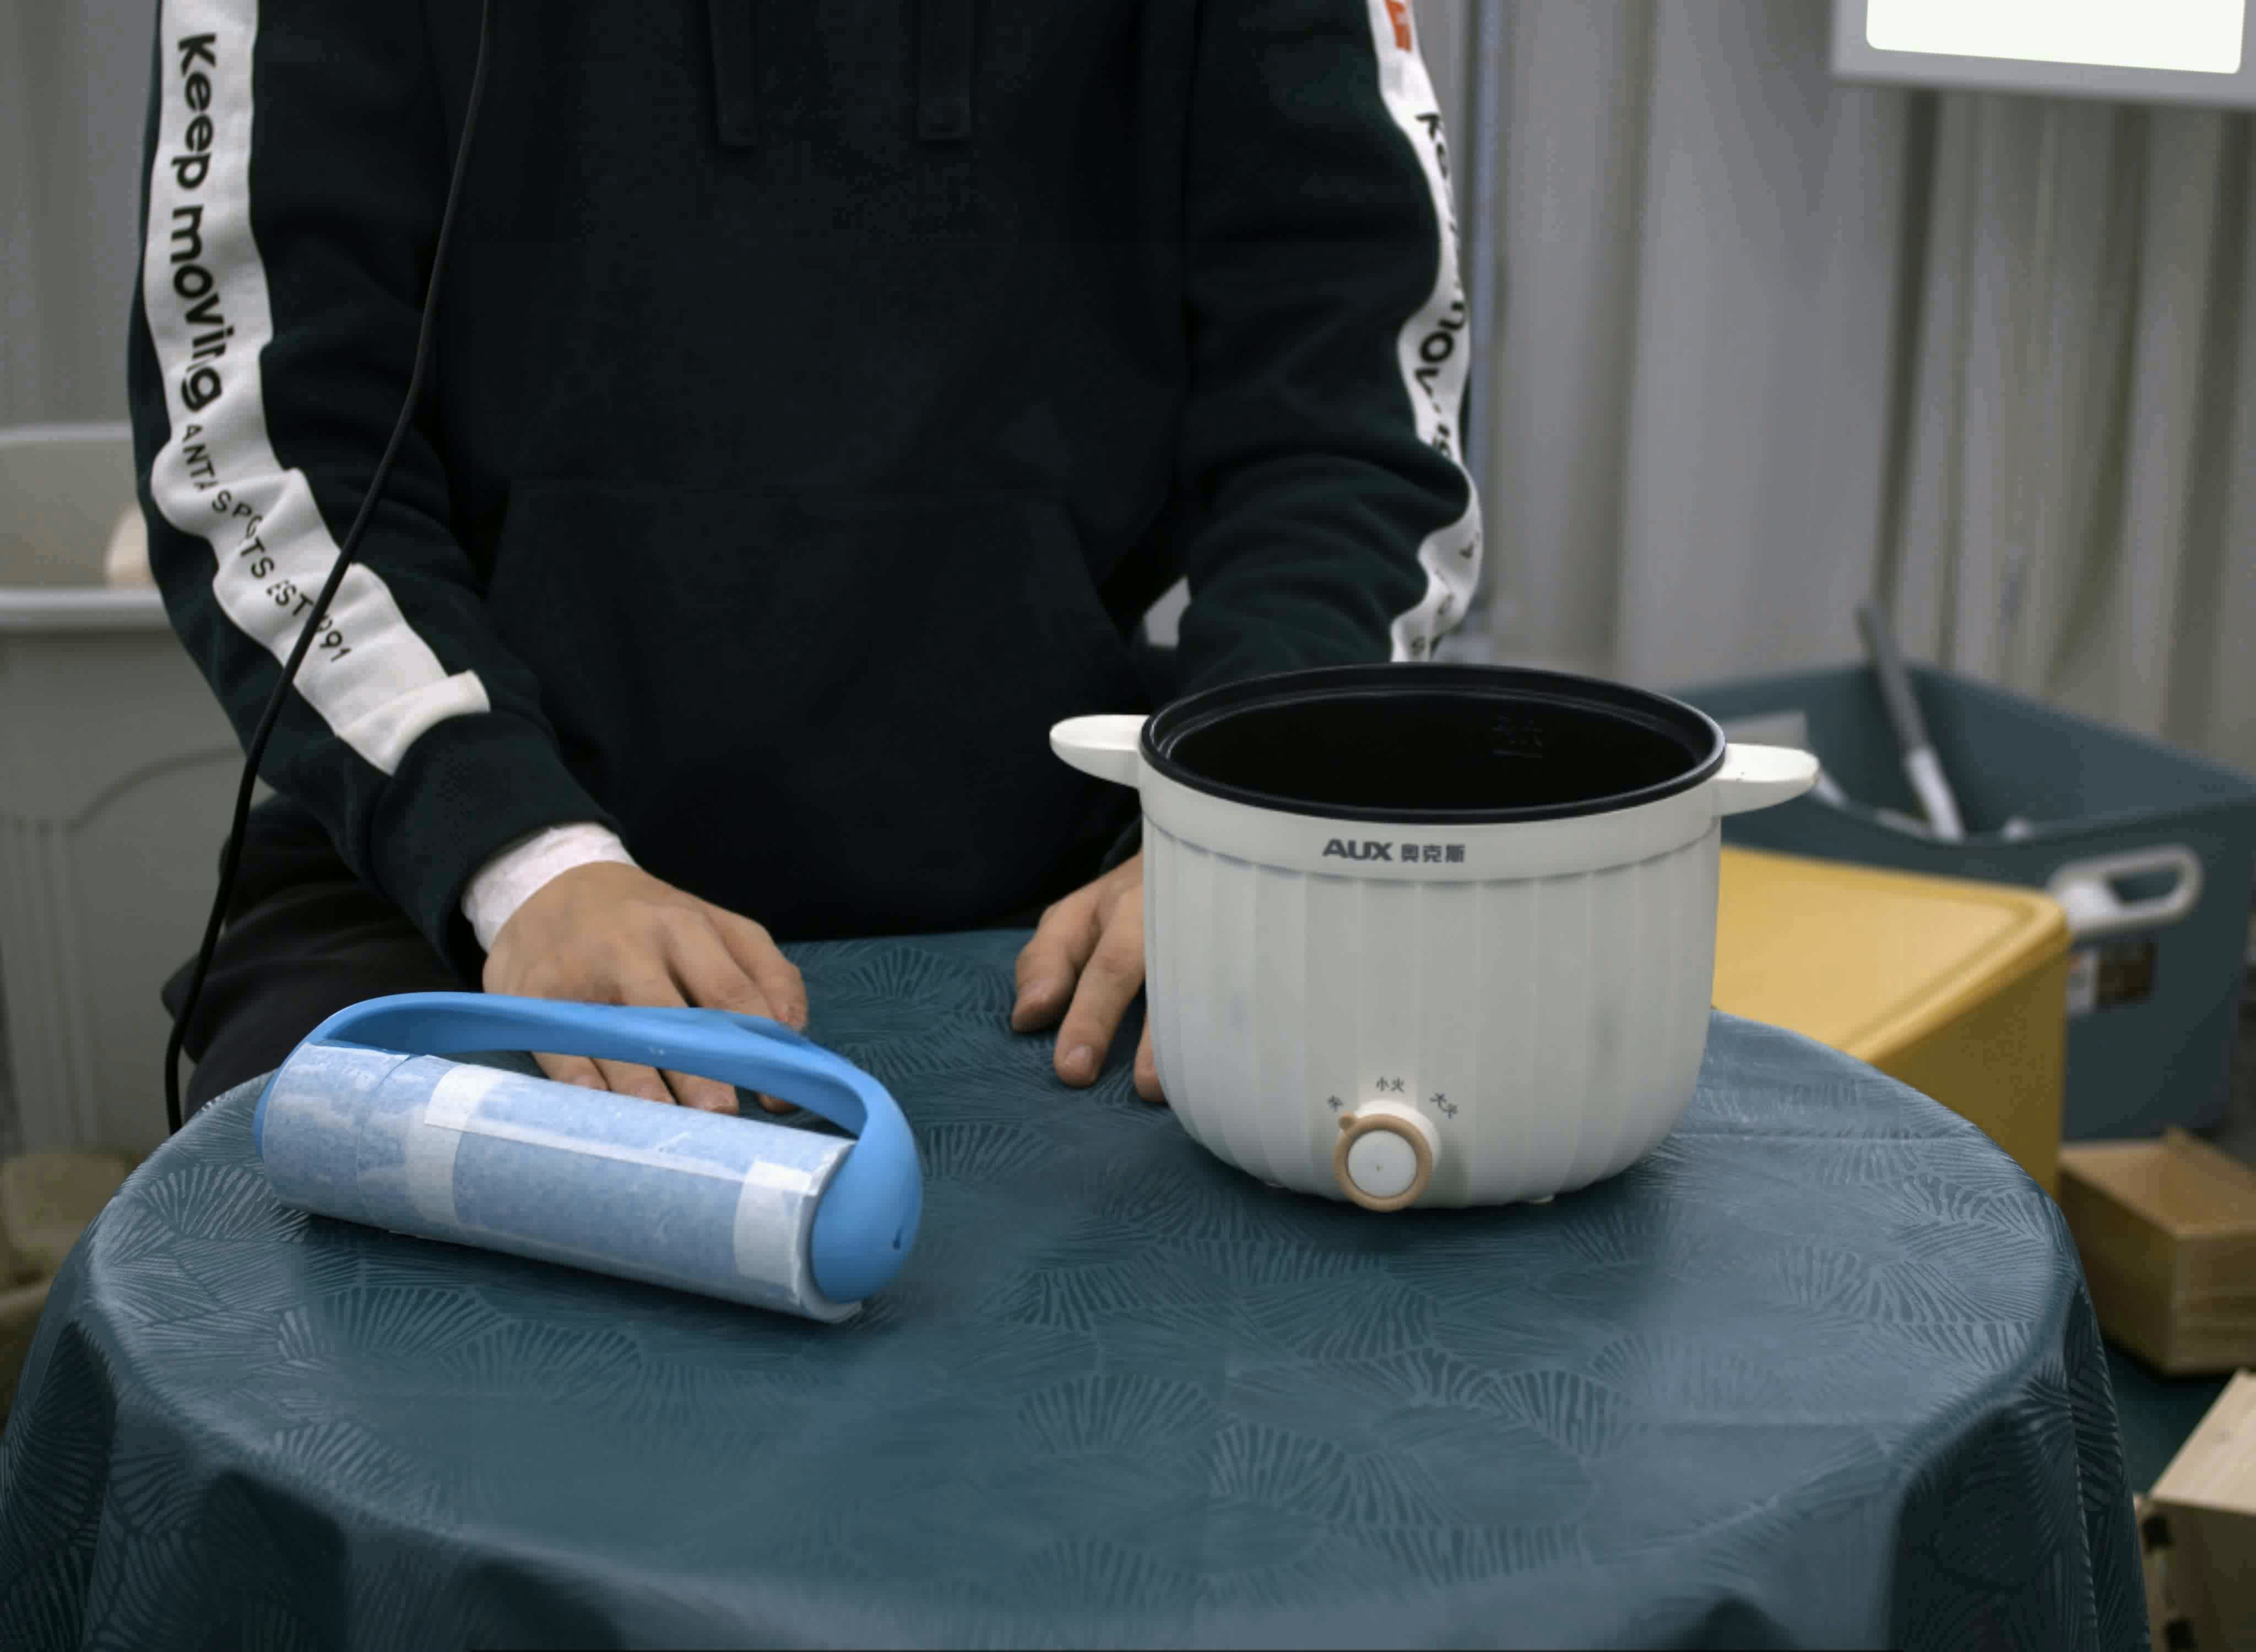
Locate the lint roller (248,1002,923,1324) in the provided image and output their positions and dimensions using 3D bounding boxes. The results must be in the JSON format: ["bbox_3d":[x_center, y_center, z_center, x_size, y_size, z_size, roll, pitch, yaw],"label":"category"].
[{"bbox_3d":[-0.136,0.088,1.597,0.226,0.068,0.180,6,18,27],"label":"lint roller"}]

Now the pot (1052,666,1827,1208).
[{"bbox_3d":[0.095,0.037,1.634,0.239,0.143,0.190,1,13,9],"label":"pot"}]
